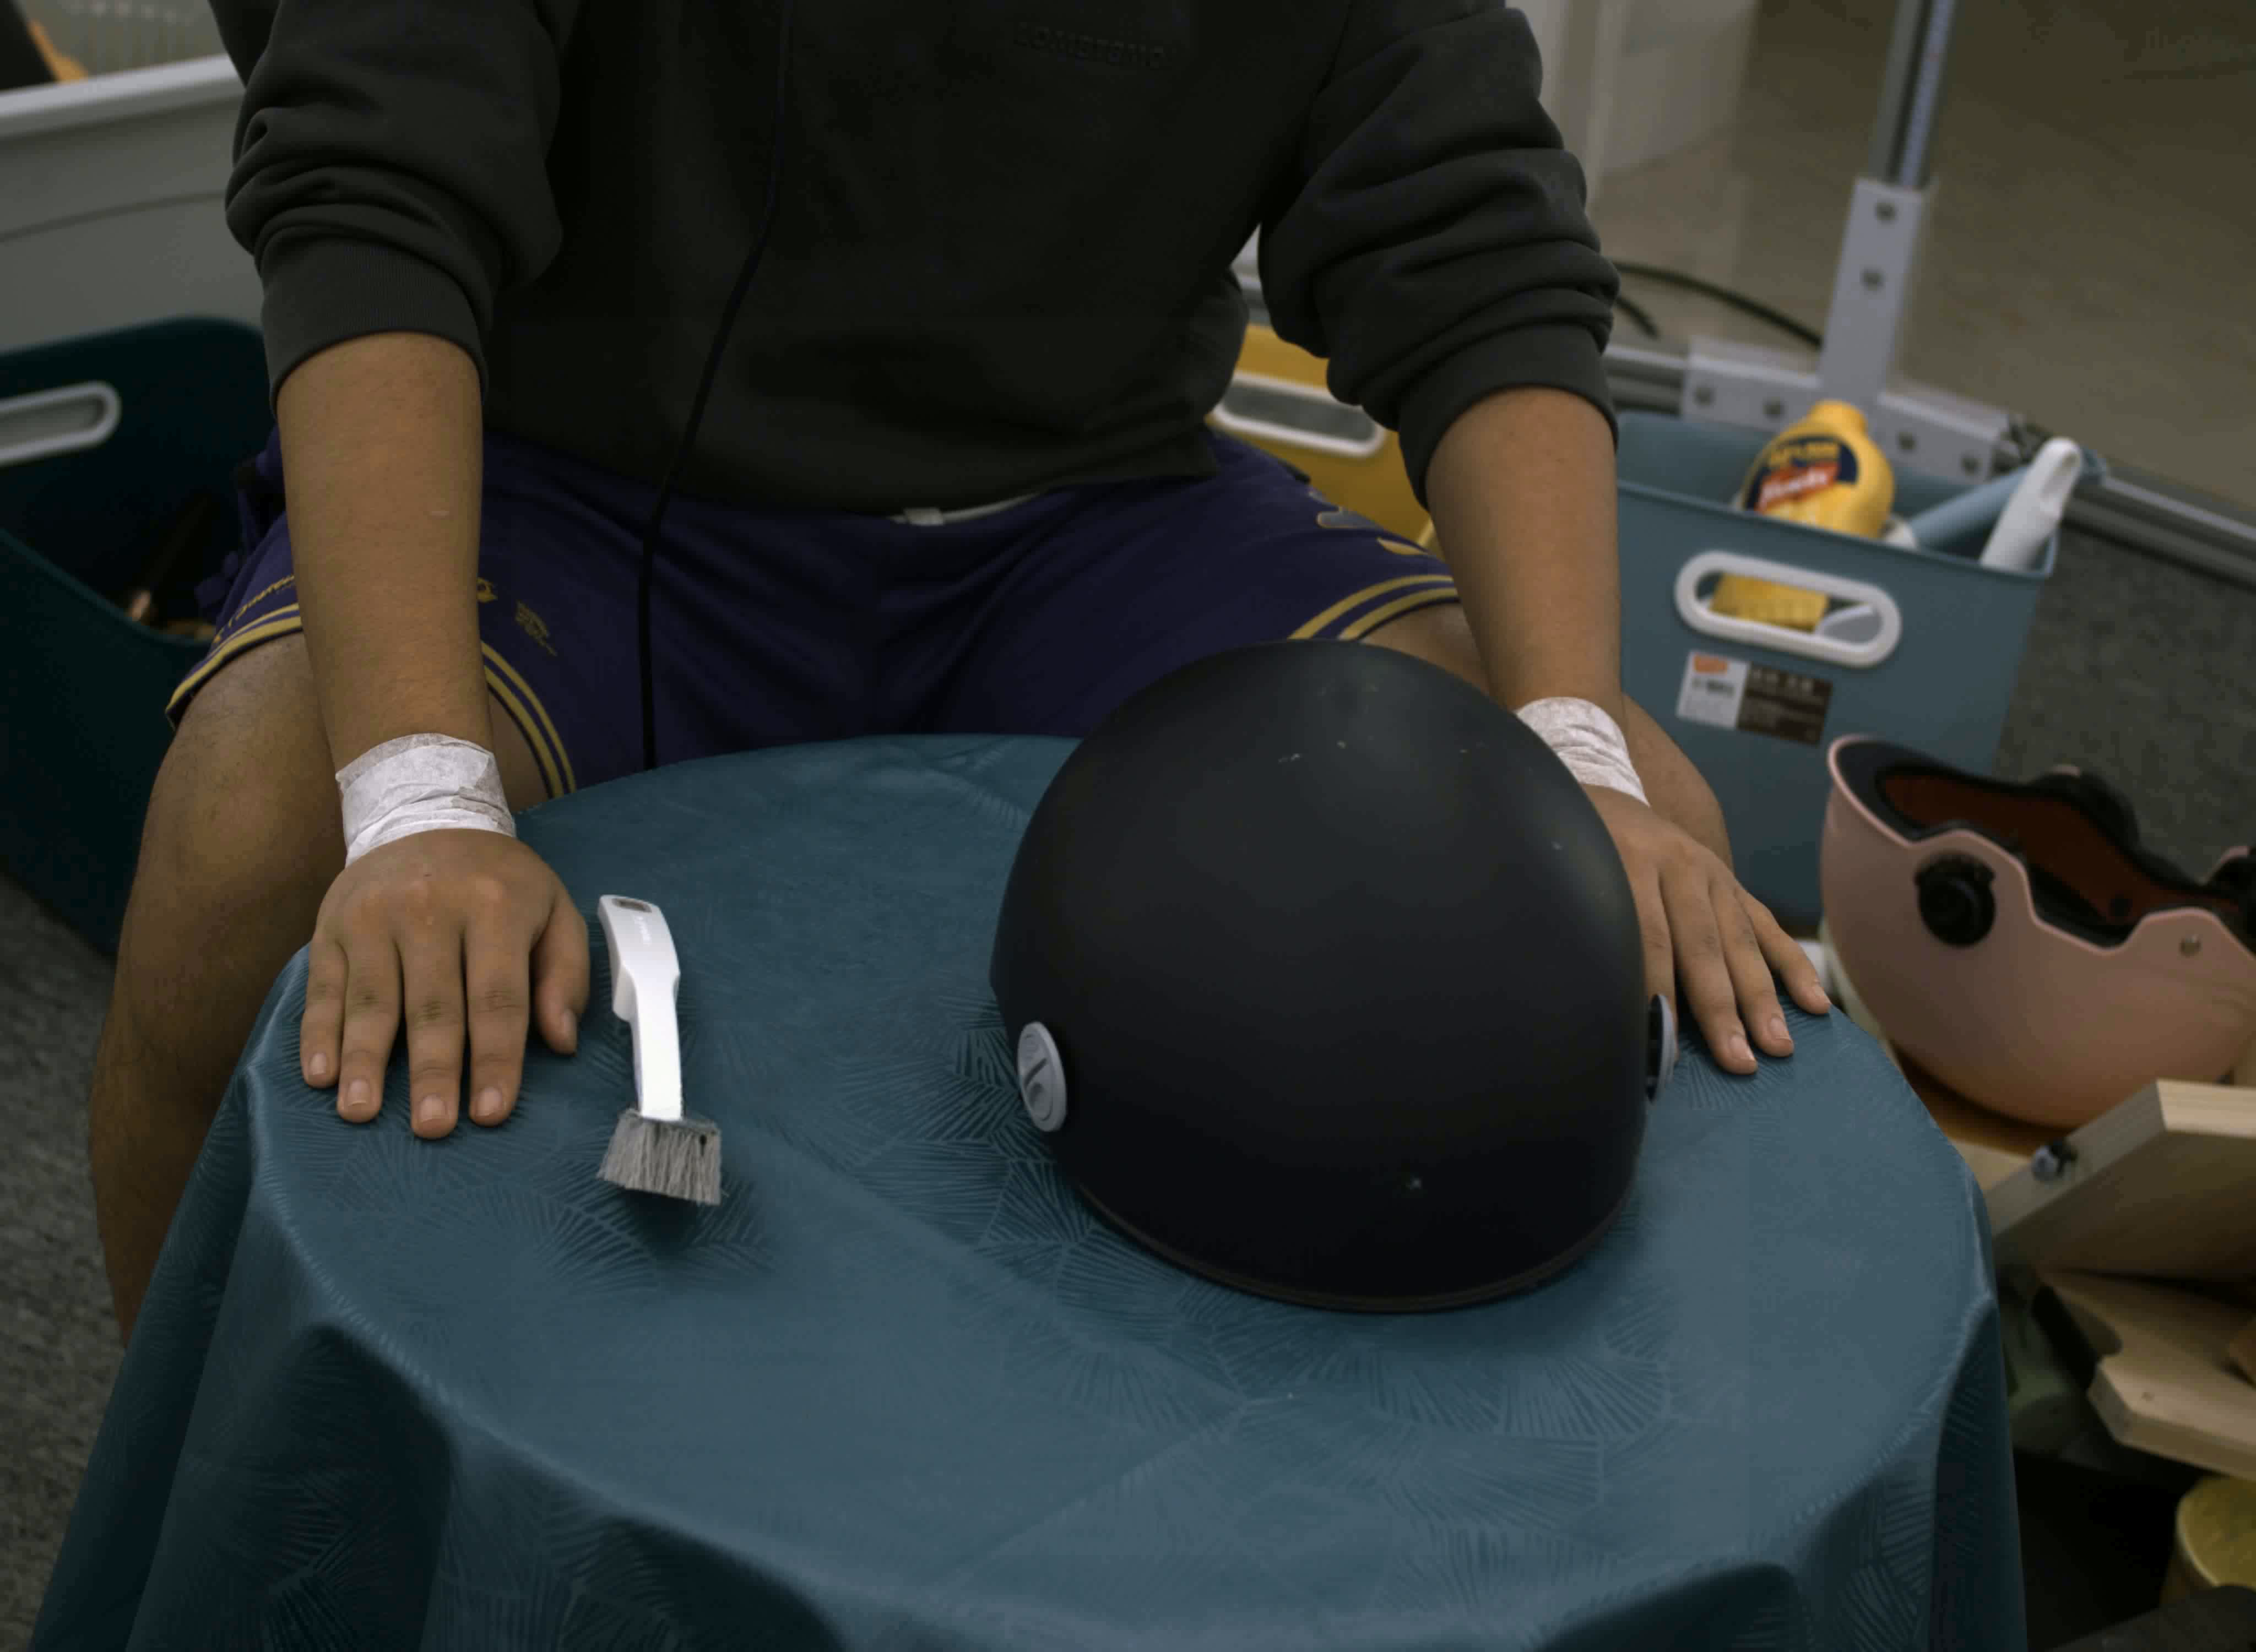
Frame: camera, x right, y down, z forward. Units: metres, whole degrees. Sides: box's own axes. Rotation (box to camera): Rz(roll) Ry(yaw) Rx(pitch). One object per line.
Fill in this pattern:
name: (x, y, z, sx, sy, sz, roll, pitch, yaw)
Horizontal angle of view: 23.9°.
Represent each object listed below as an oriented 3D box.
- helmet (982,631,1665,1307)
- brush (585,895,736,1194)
helmet: (0.068, 0.030, 1.828, 0.229, 0.166, 0.275, -2, 30, -10)
brush: (-0.167, 0.078, 1.827, 0.034, 0.050, 0.245, 10, 13, -14)
